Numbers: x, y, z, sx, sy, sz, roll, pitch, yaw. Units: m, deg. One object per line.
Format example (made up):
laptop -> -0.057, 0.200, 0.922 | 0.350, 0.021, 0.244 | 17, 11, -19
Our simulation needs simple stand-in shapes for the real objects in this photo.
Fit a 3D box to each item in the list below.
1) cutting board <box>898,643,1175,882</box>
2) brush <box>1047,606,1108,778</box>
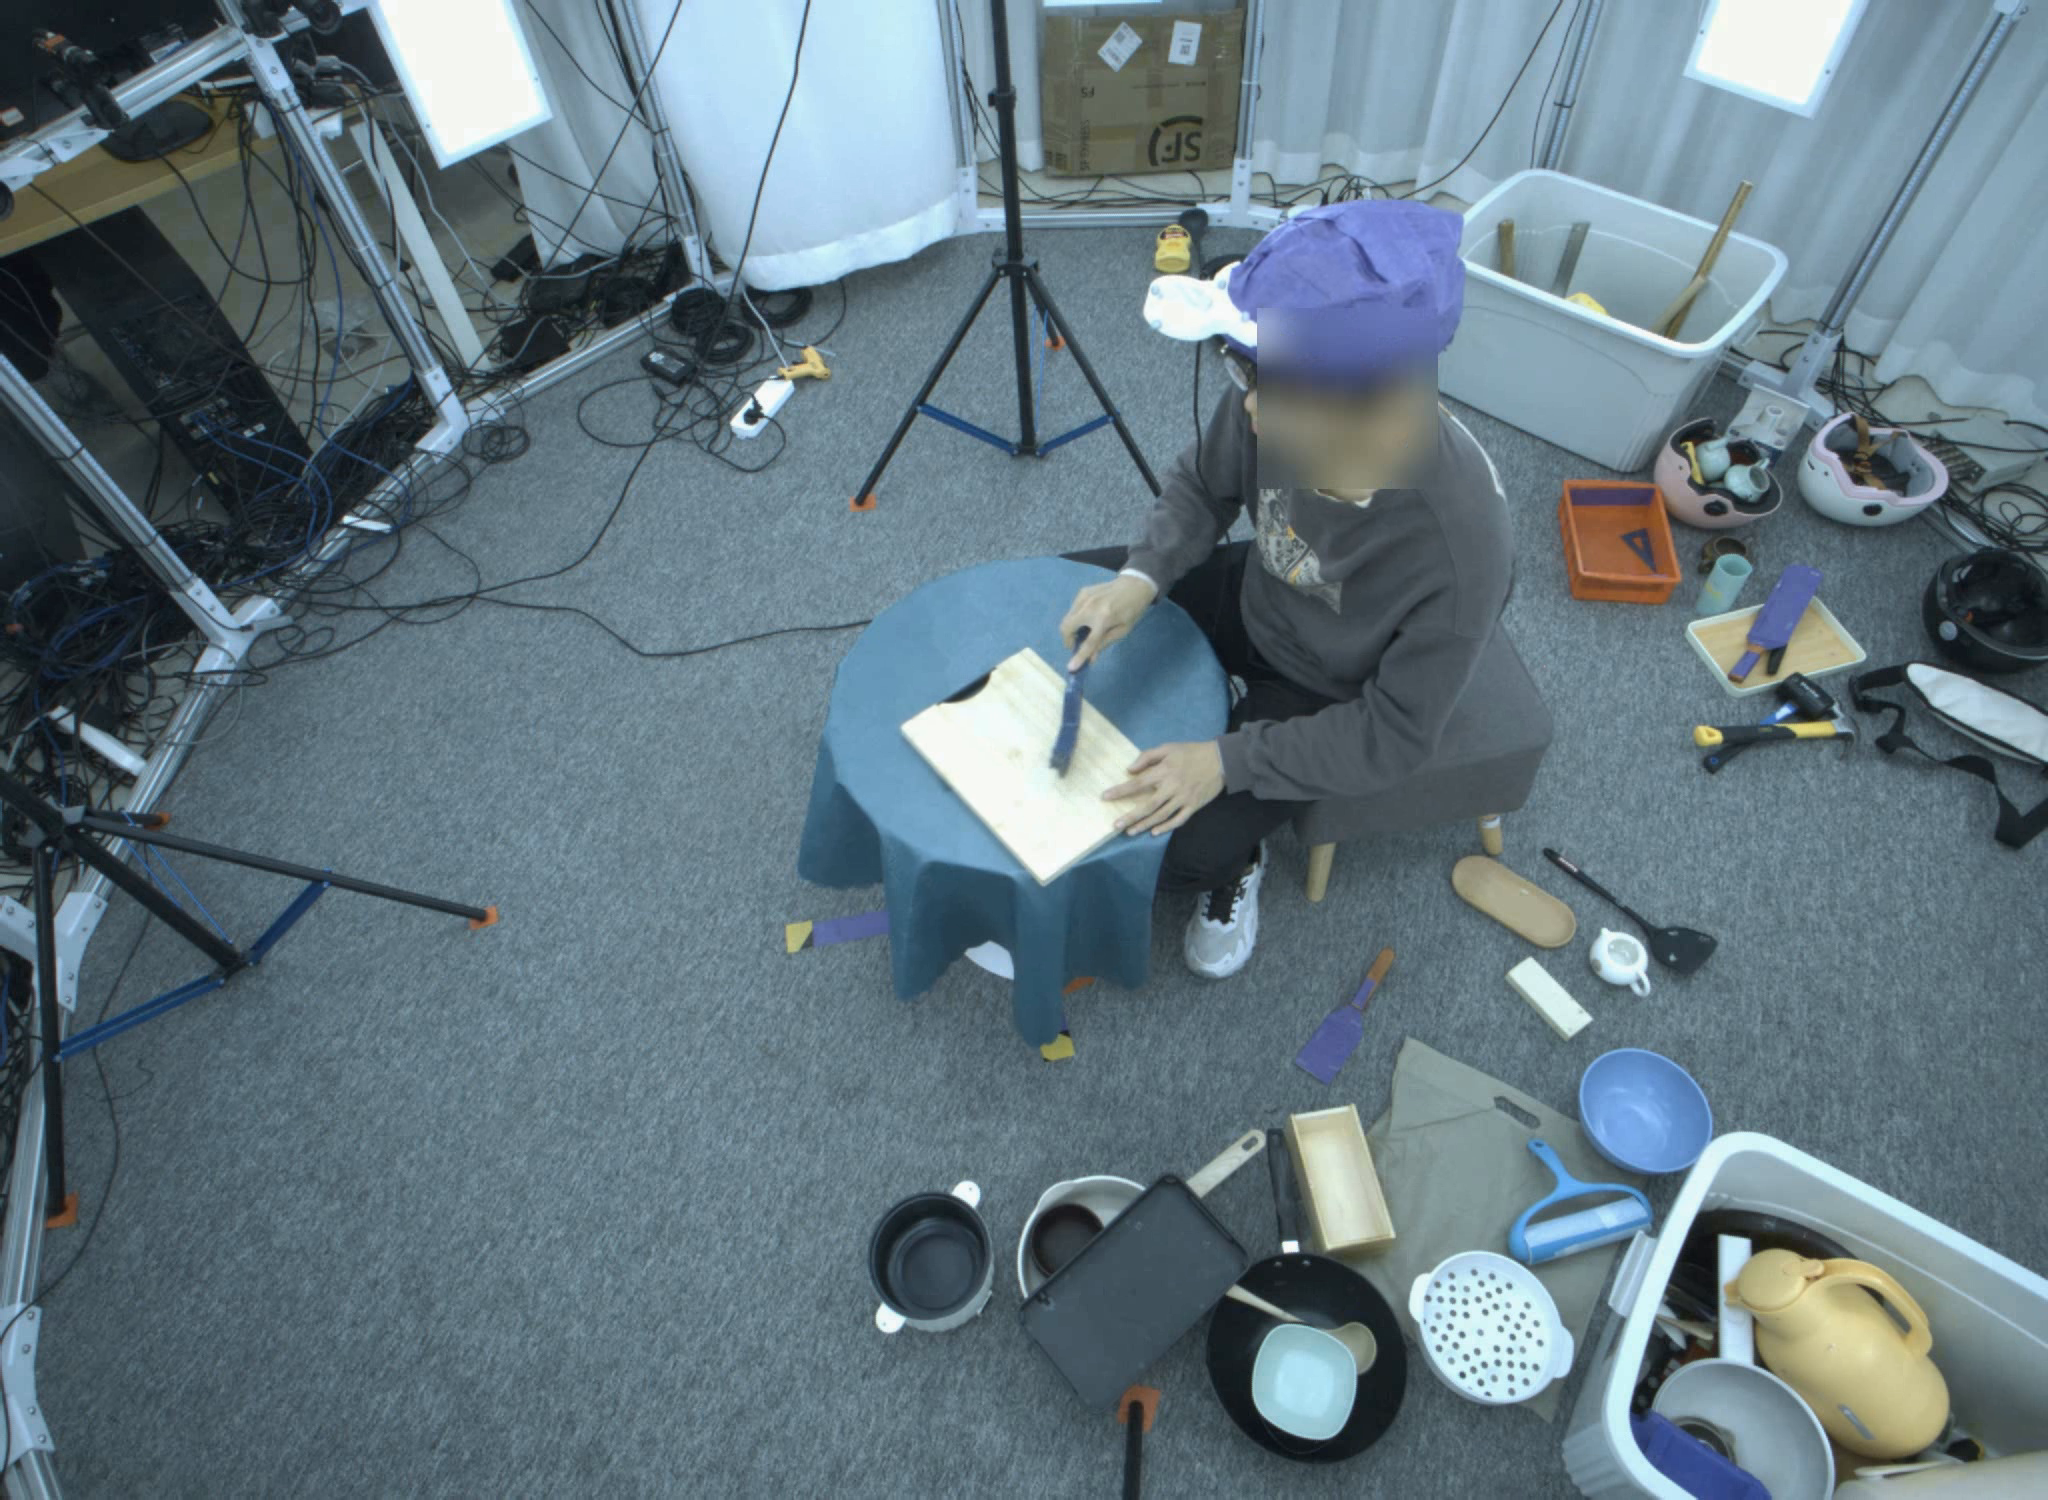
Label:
cutting board -> 0.013, 0.009, 1.768 | 0.253, 0.024, 0.342 | -34, 60, -21
brush -> 0.076, -0.093, 1.723 | 0.033, 0.097, 0.272 | 3, 71, 18
